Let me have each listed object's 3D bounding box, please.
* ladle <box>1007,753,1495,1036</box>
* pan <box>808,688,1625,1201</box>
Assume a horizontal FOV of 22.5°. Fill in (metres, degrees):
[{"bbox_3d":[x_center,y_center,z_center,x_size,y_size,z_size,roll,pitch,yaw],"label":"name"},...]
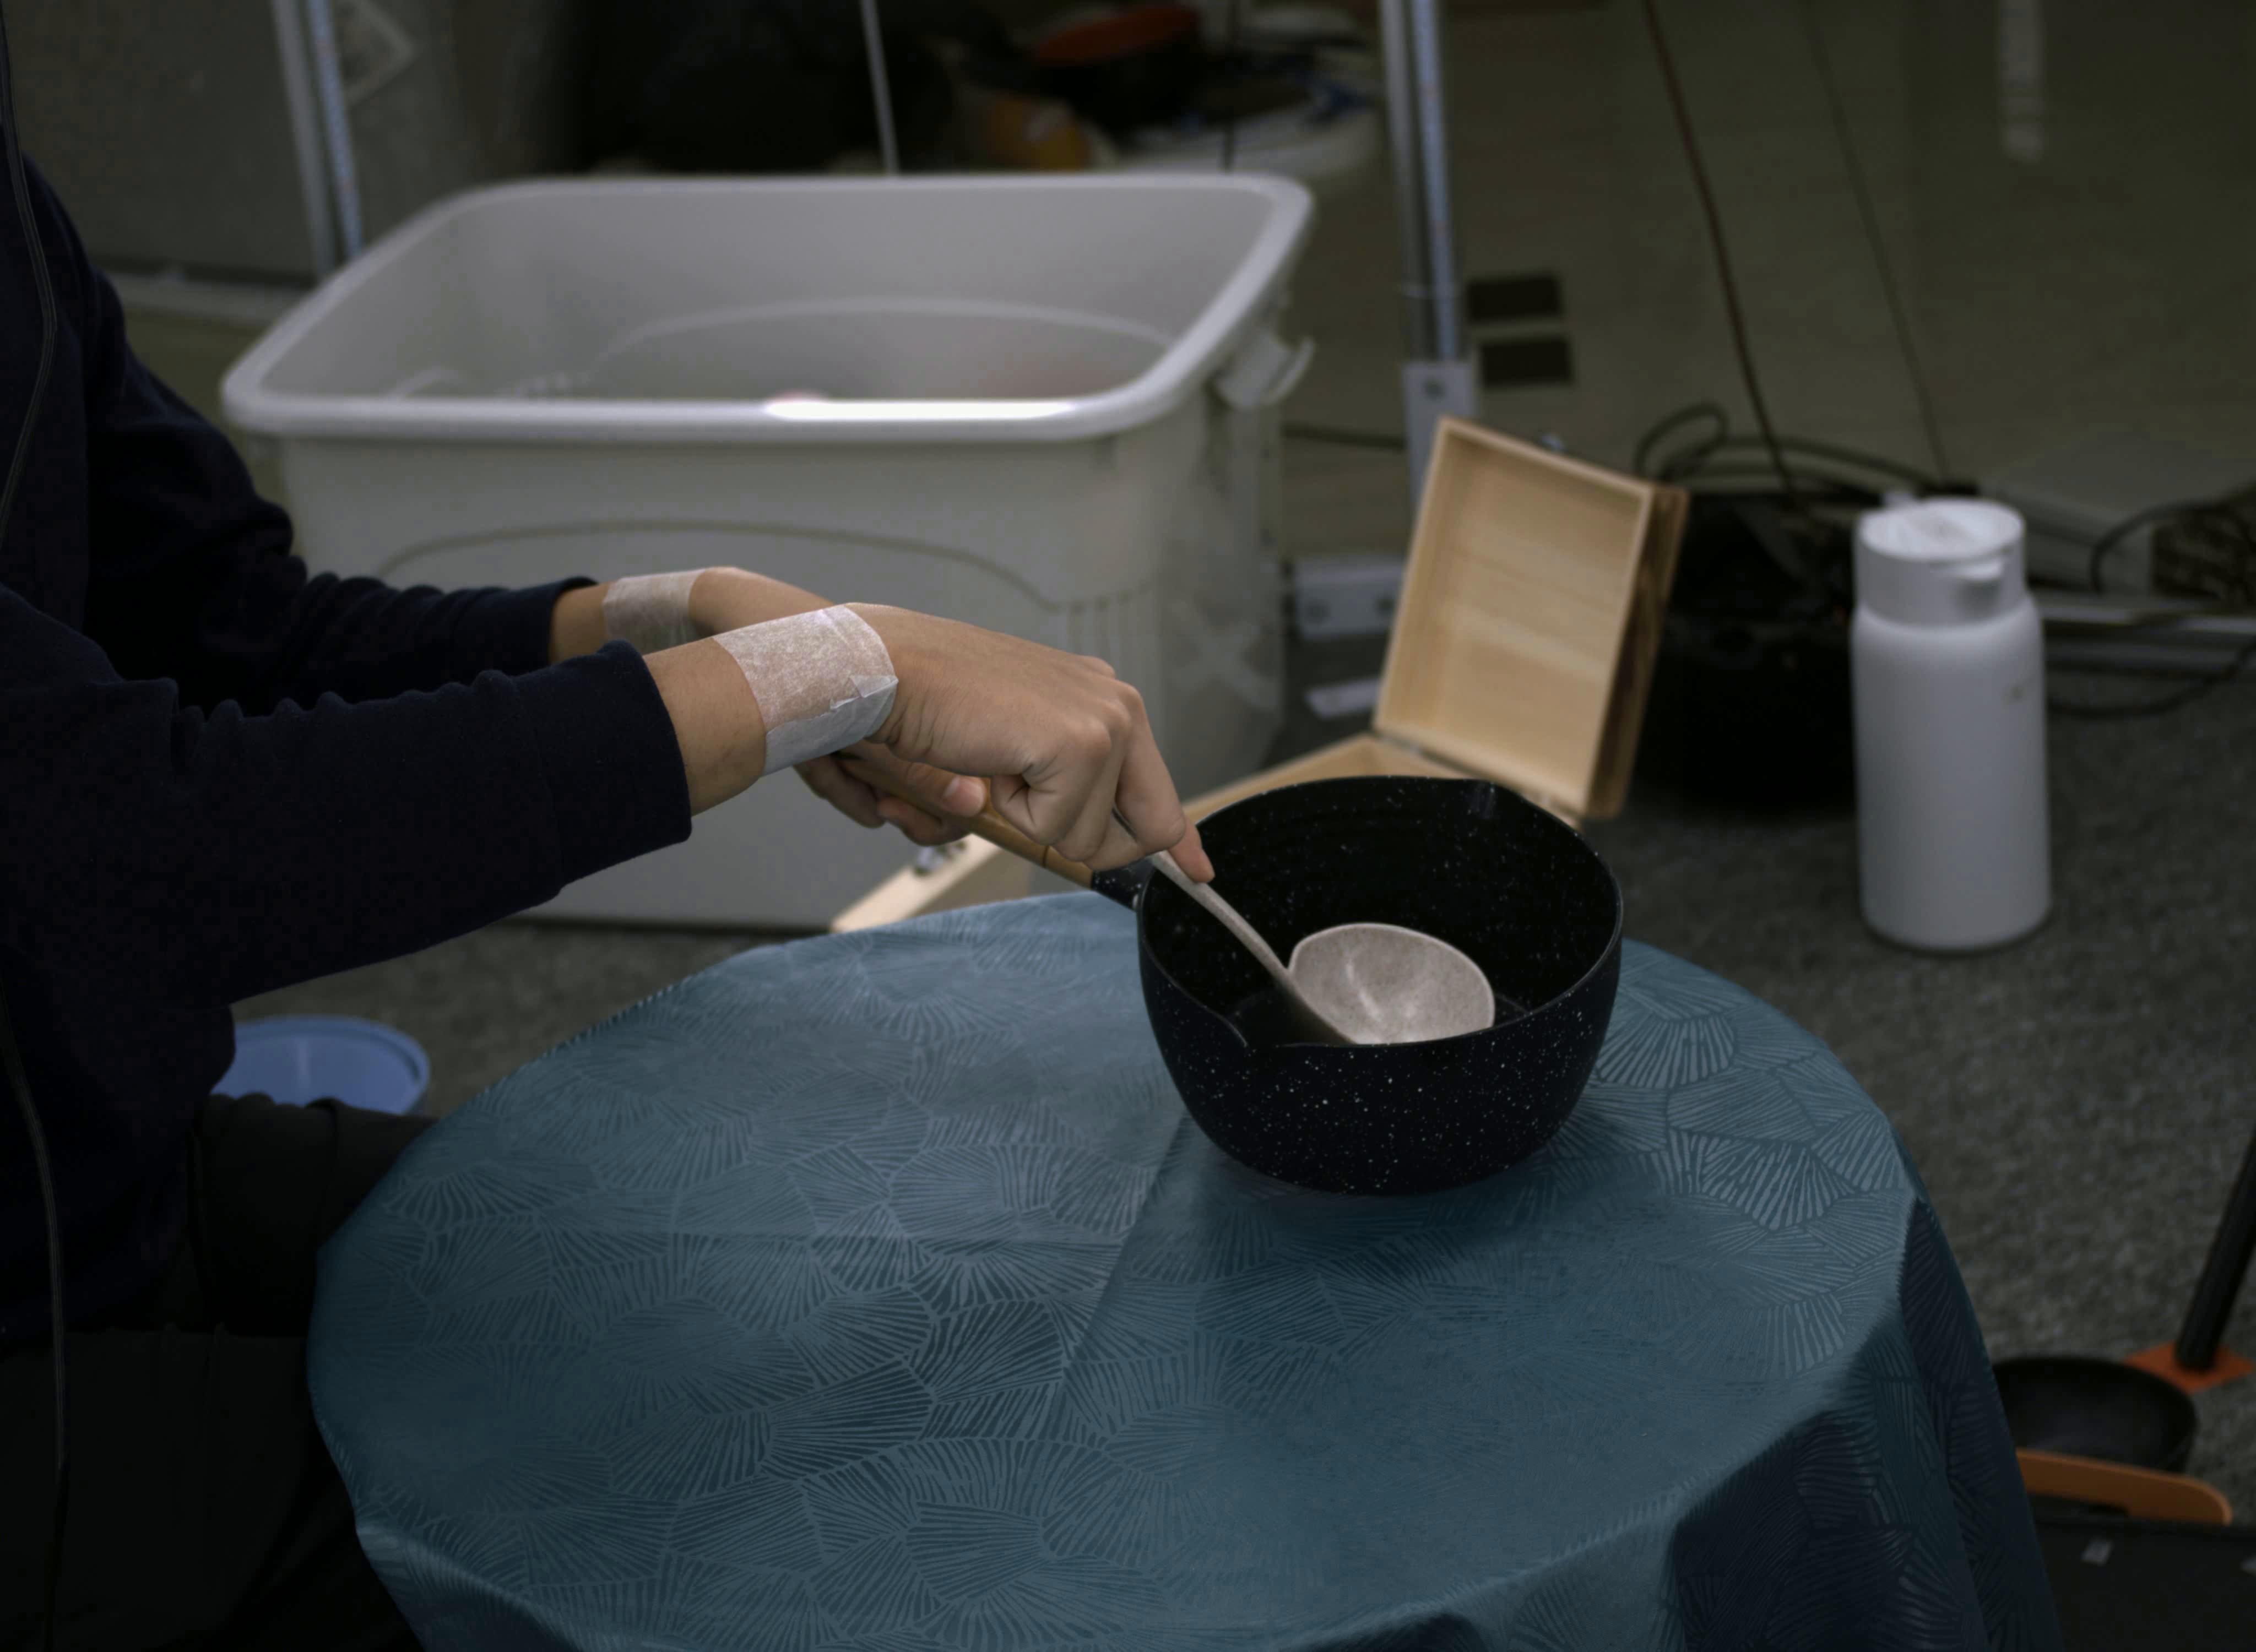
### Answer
[{"bbox_3d":[0.048,0.020,2.085,0.069,0.278,0.088,-38,51,7],"label":"ladle"},{"bbox_3d":[0.026,0.036,2.183,0.341,0.110,0.204,16,39,23],"label":"pan"}]
